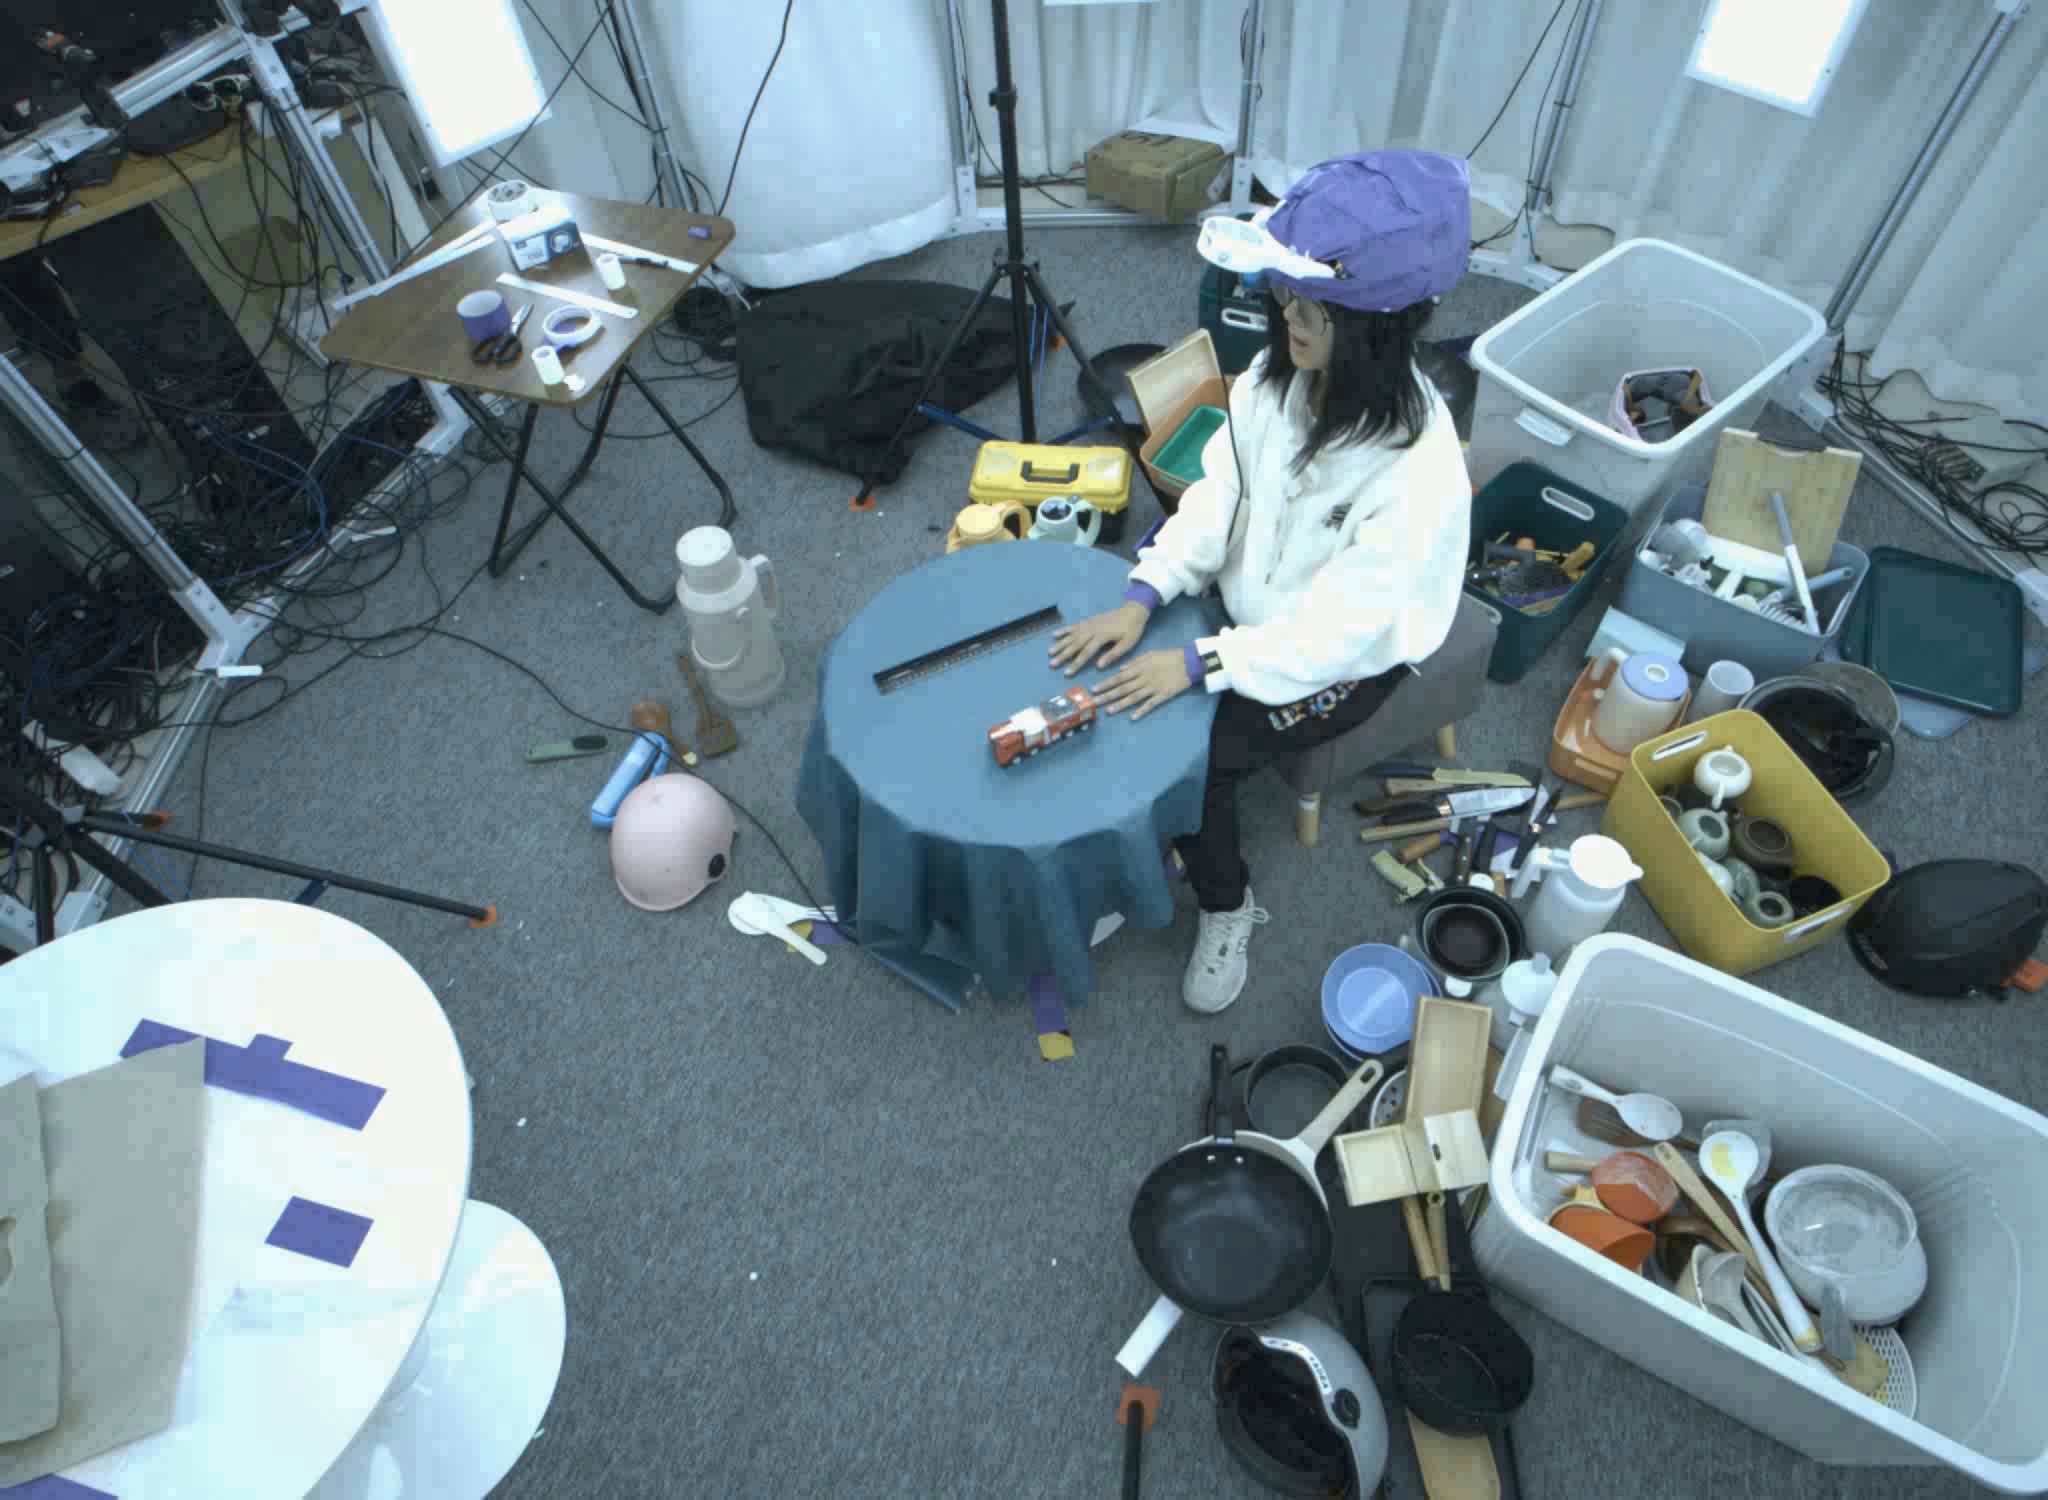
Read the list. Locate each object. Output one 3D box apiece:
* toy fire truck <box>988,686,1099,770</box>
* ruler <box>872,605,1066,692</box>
[{"bbox_3d":[0.026,-0.033,1.775,0.169,0.071,0.053,-25,55,-17],"label":"toy fire truck"},{"bbox_3d":[-0.084,-0.159,1.893,0.315,0.017,0.038,-22,61,-13],"label":"ruler"}]
